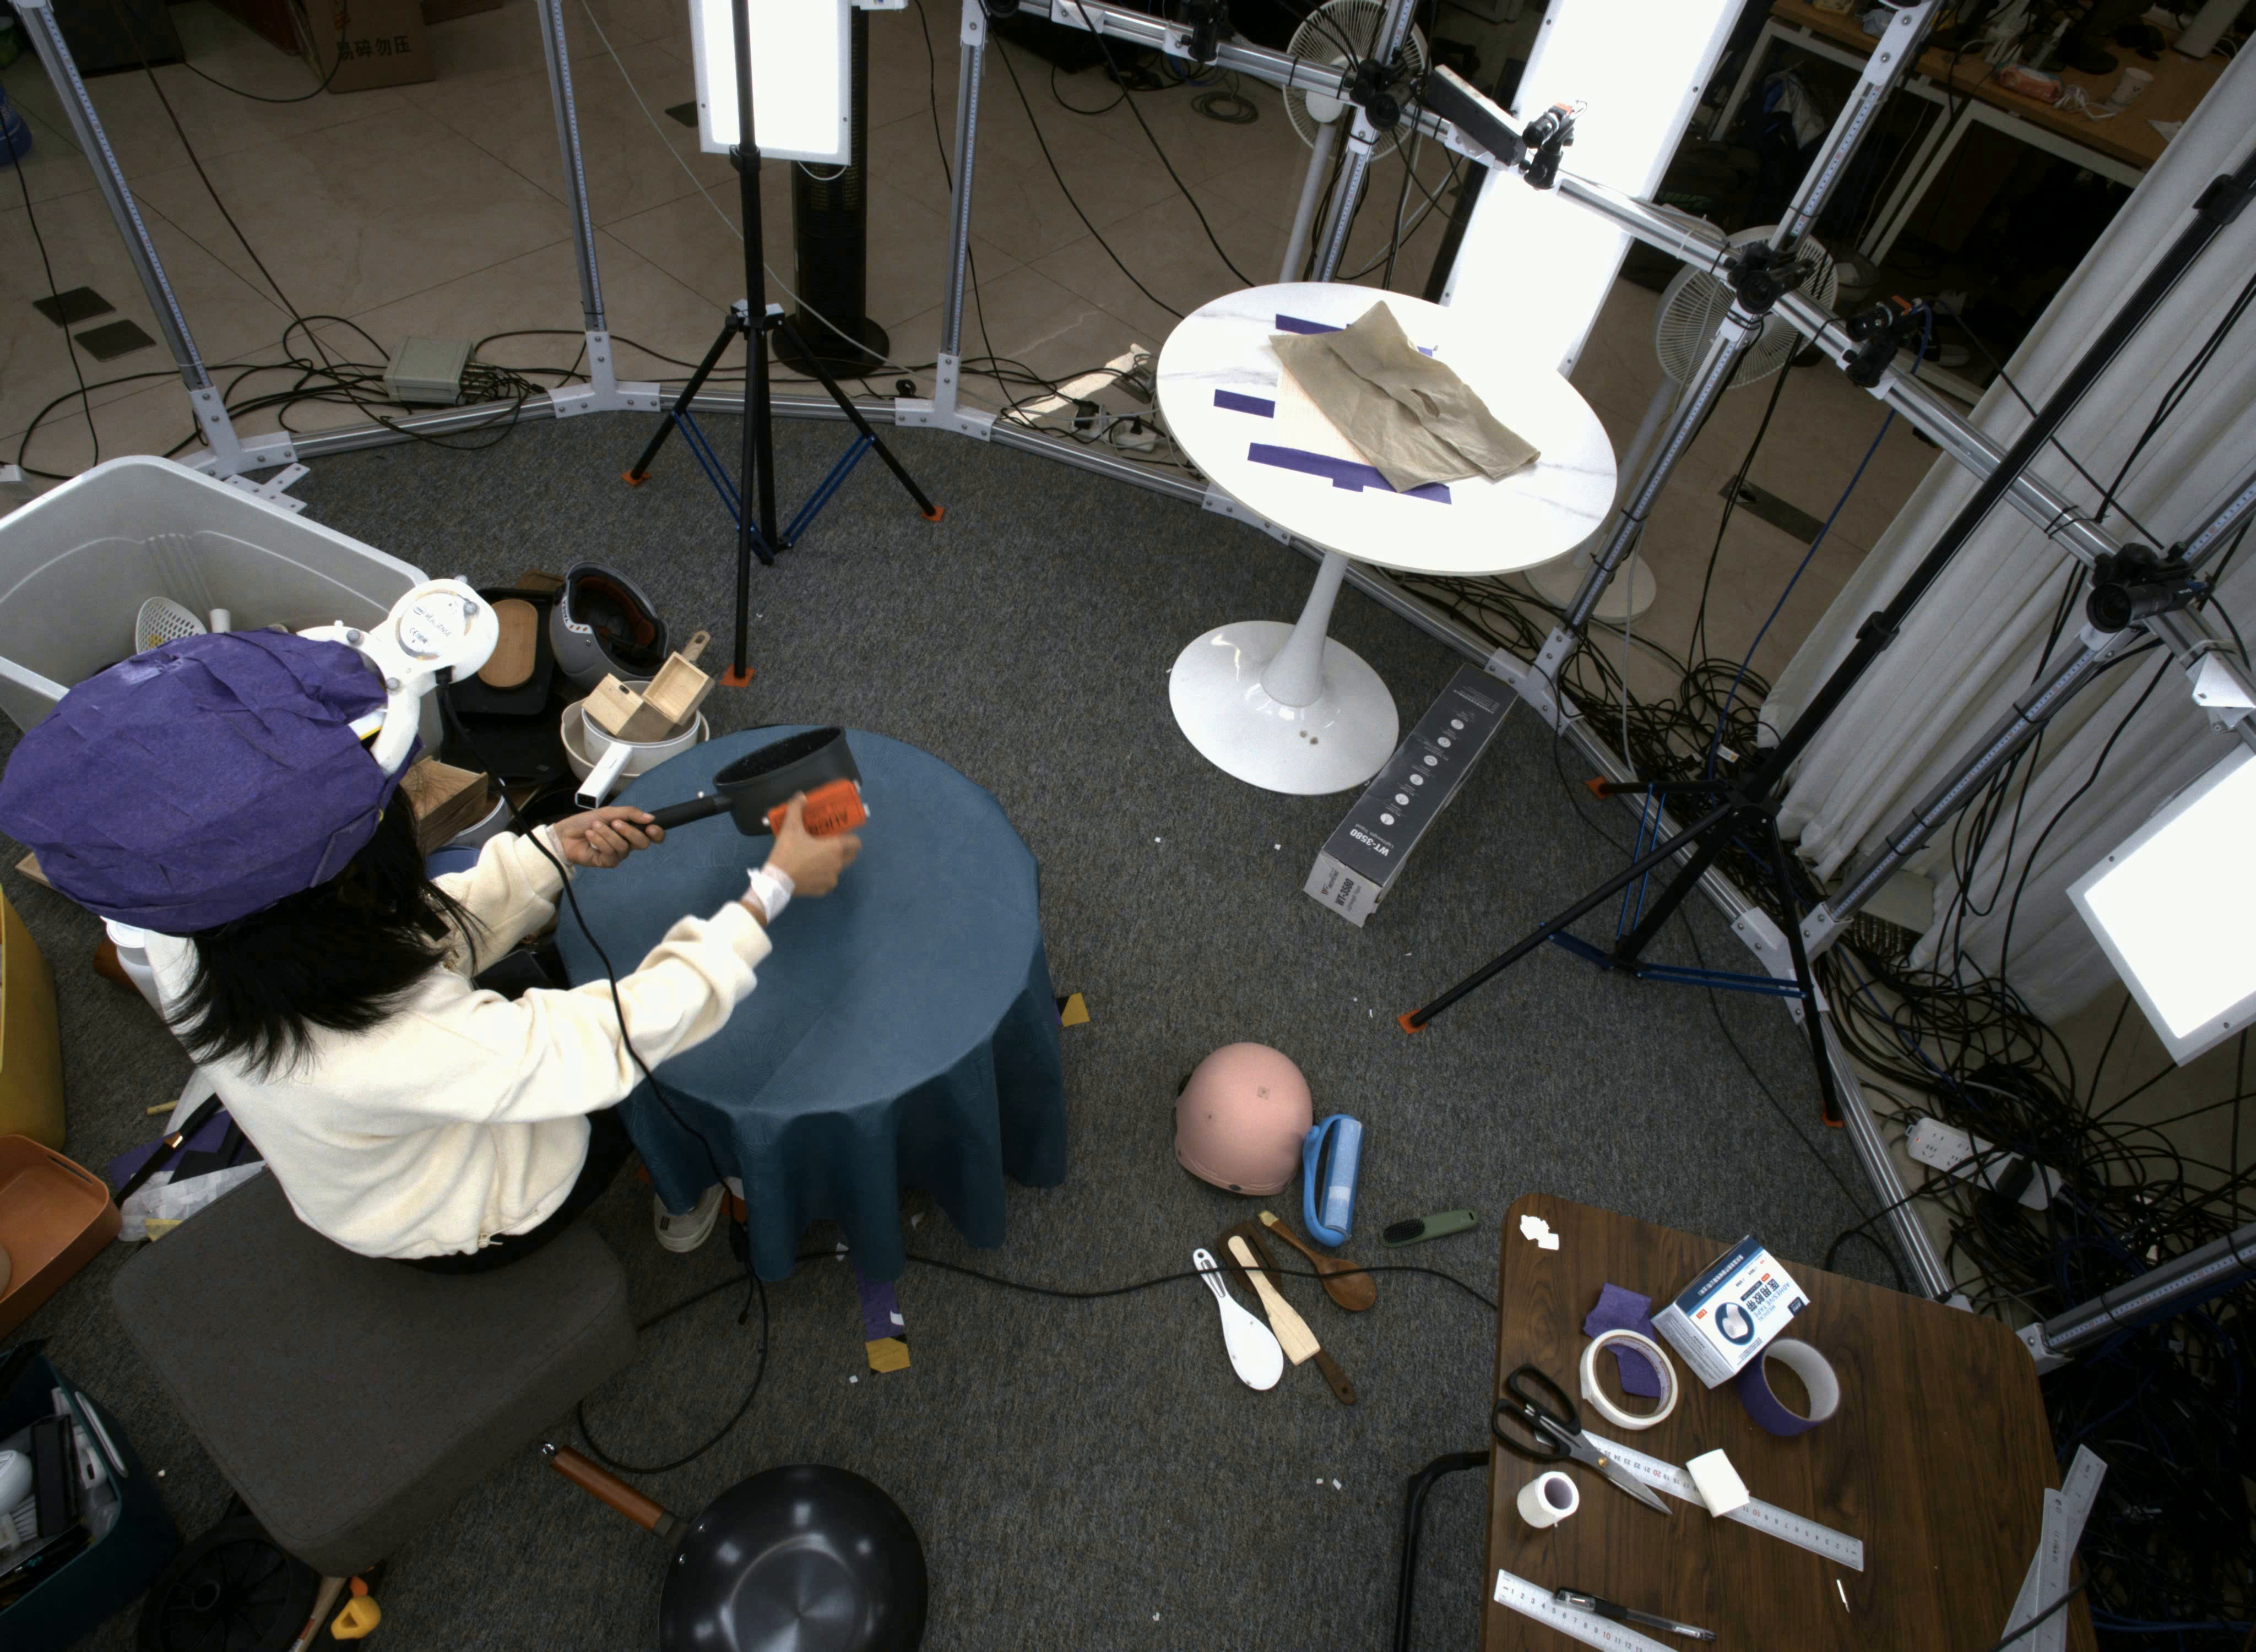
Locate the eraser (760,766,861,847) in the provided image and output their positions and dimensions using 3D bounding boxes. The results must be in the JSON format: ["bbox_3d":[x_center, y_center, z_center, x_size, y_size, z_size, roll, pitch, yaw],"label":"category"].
[{"bbox_3d":[-0.369,-0.024,1.507,0.108,0.061,0.022,-27,29,-22],"label":"eraser"}]

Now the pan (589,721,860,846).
[{"bbox_3d":[-0.479,-0.027,1.542,0.330,0.089,0.166,-27,20,-27],"label":"pan"}]
